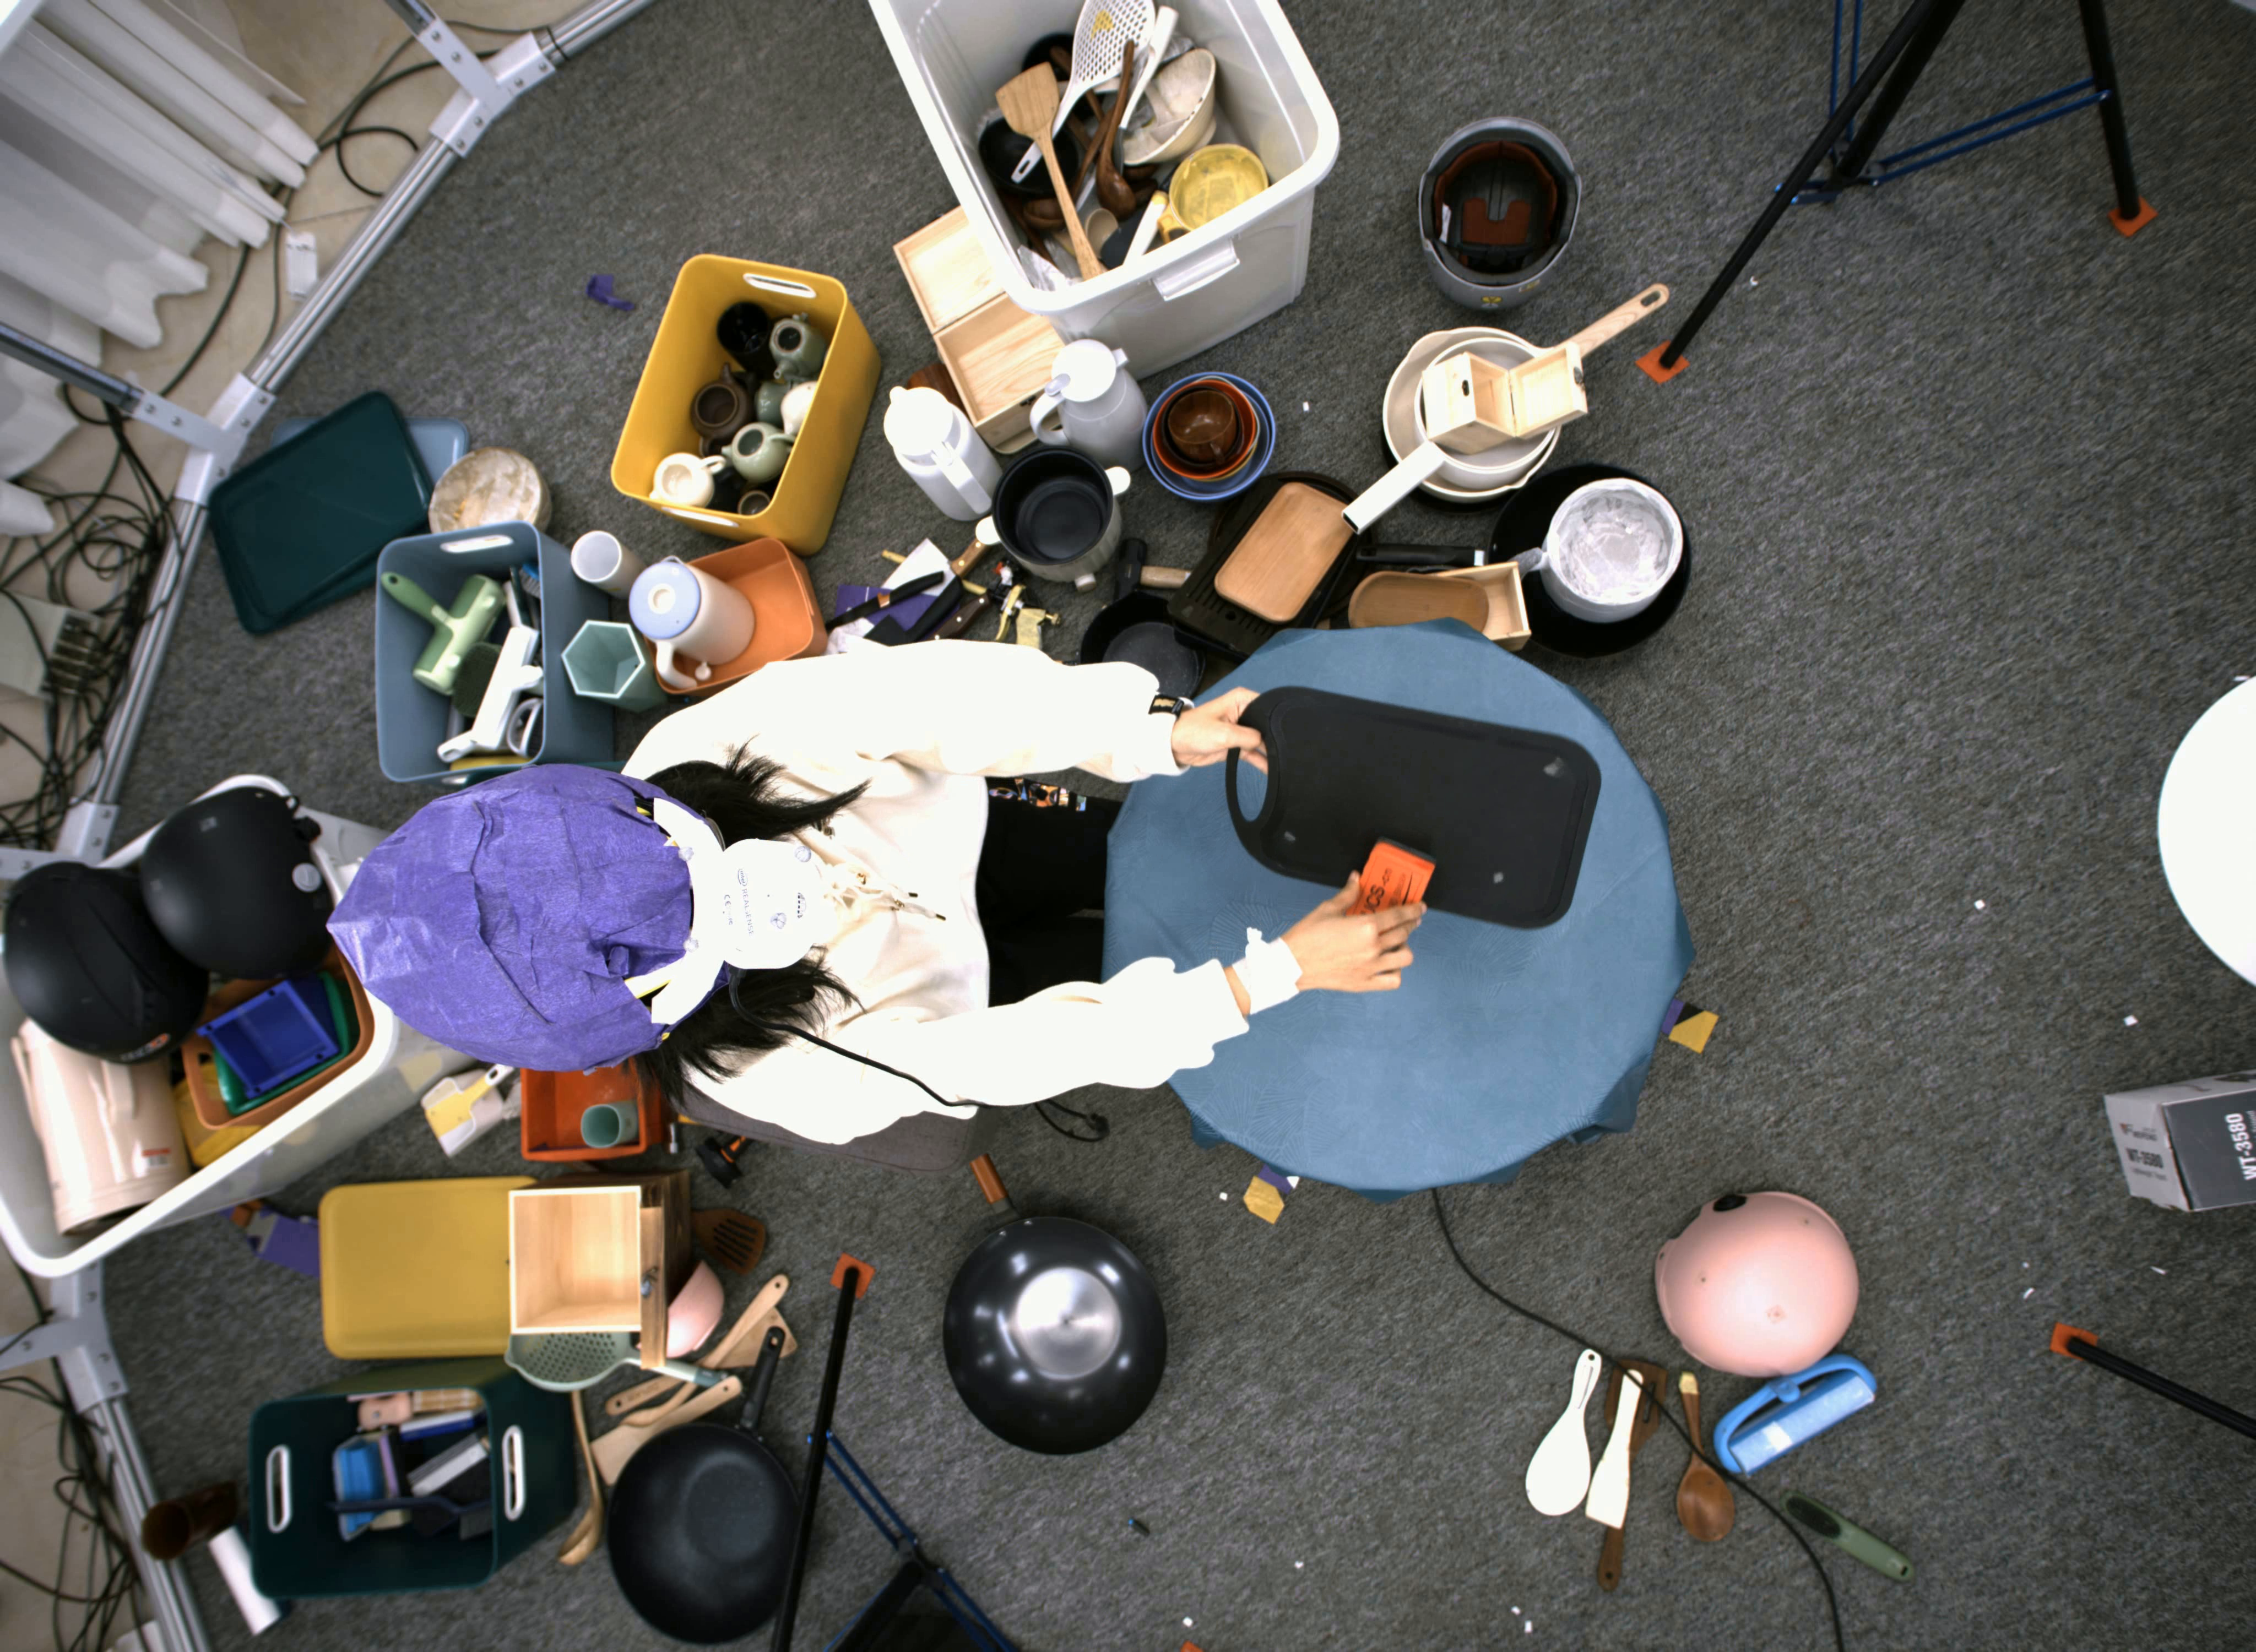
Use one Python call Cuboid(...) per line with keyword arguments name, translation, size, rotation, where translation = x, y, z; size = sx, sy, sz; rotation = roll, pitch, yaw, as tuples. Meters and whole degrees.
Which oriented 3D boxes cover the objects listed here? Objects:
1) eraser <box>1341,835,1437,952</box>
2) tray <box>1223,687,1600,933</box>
Cuboid(name="eraser", translation=(0.238, 0.061, 1.264), size=(0.059, 0.022, 0.111), rotation=(27, 131, 13))
Cuboid(name="tray", translation=(0.239, -0.014, 1.222), size=(0.326, 0.009, 0.216), rotation=(13, 130, 16))
